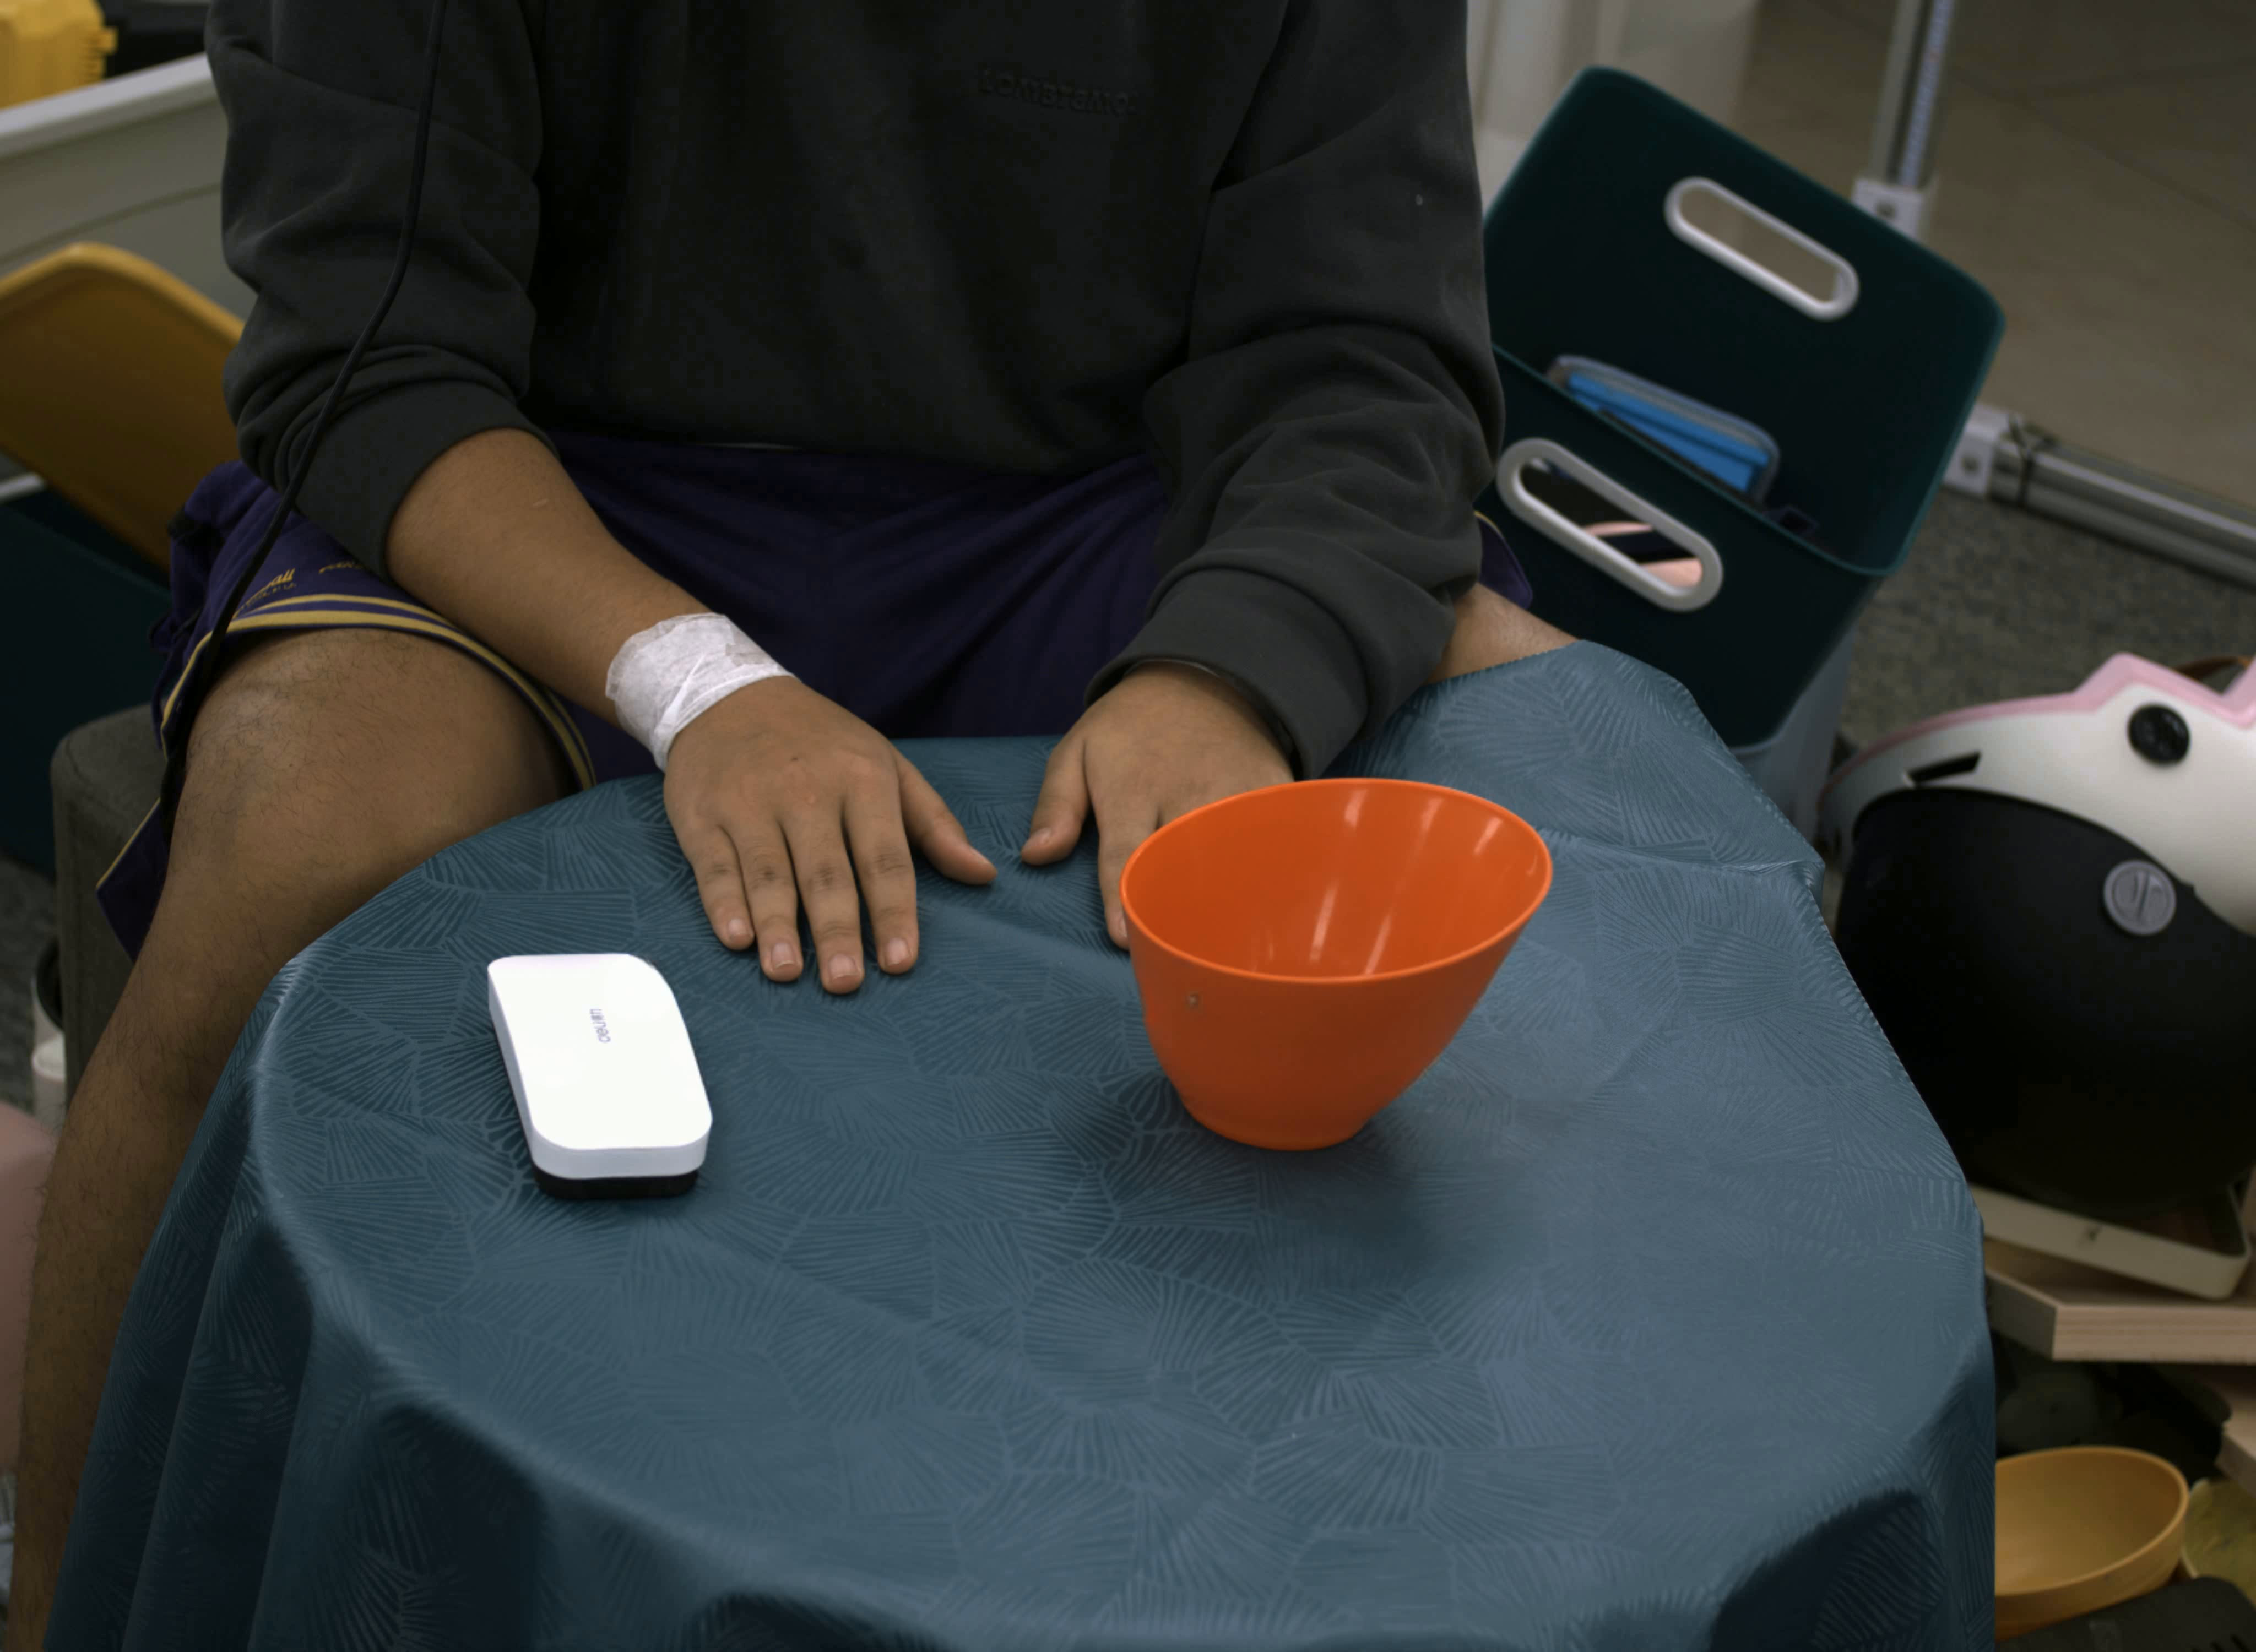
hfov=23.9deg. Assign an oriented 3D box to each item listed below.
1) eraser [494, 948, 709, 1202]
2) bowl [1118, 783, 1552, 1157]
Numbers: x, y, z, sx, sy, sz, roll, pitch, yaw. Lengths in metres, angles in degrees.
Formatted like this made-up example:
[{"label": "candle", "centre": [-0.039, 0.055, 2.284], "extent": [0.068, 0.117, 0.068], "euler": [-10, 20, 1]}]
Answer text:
[{"label": "eraser", "centre": [-0.179, 0.081, 1.809], "extent": [0.063, 0.034, 0.132], "euler": [1, 29, -14]}, {"label": "bowl", "centre": [0.067, 0.055, 1.842], "extent": [0.147, 0.104, 0.149], "euler": [4, 27, -3]}]
